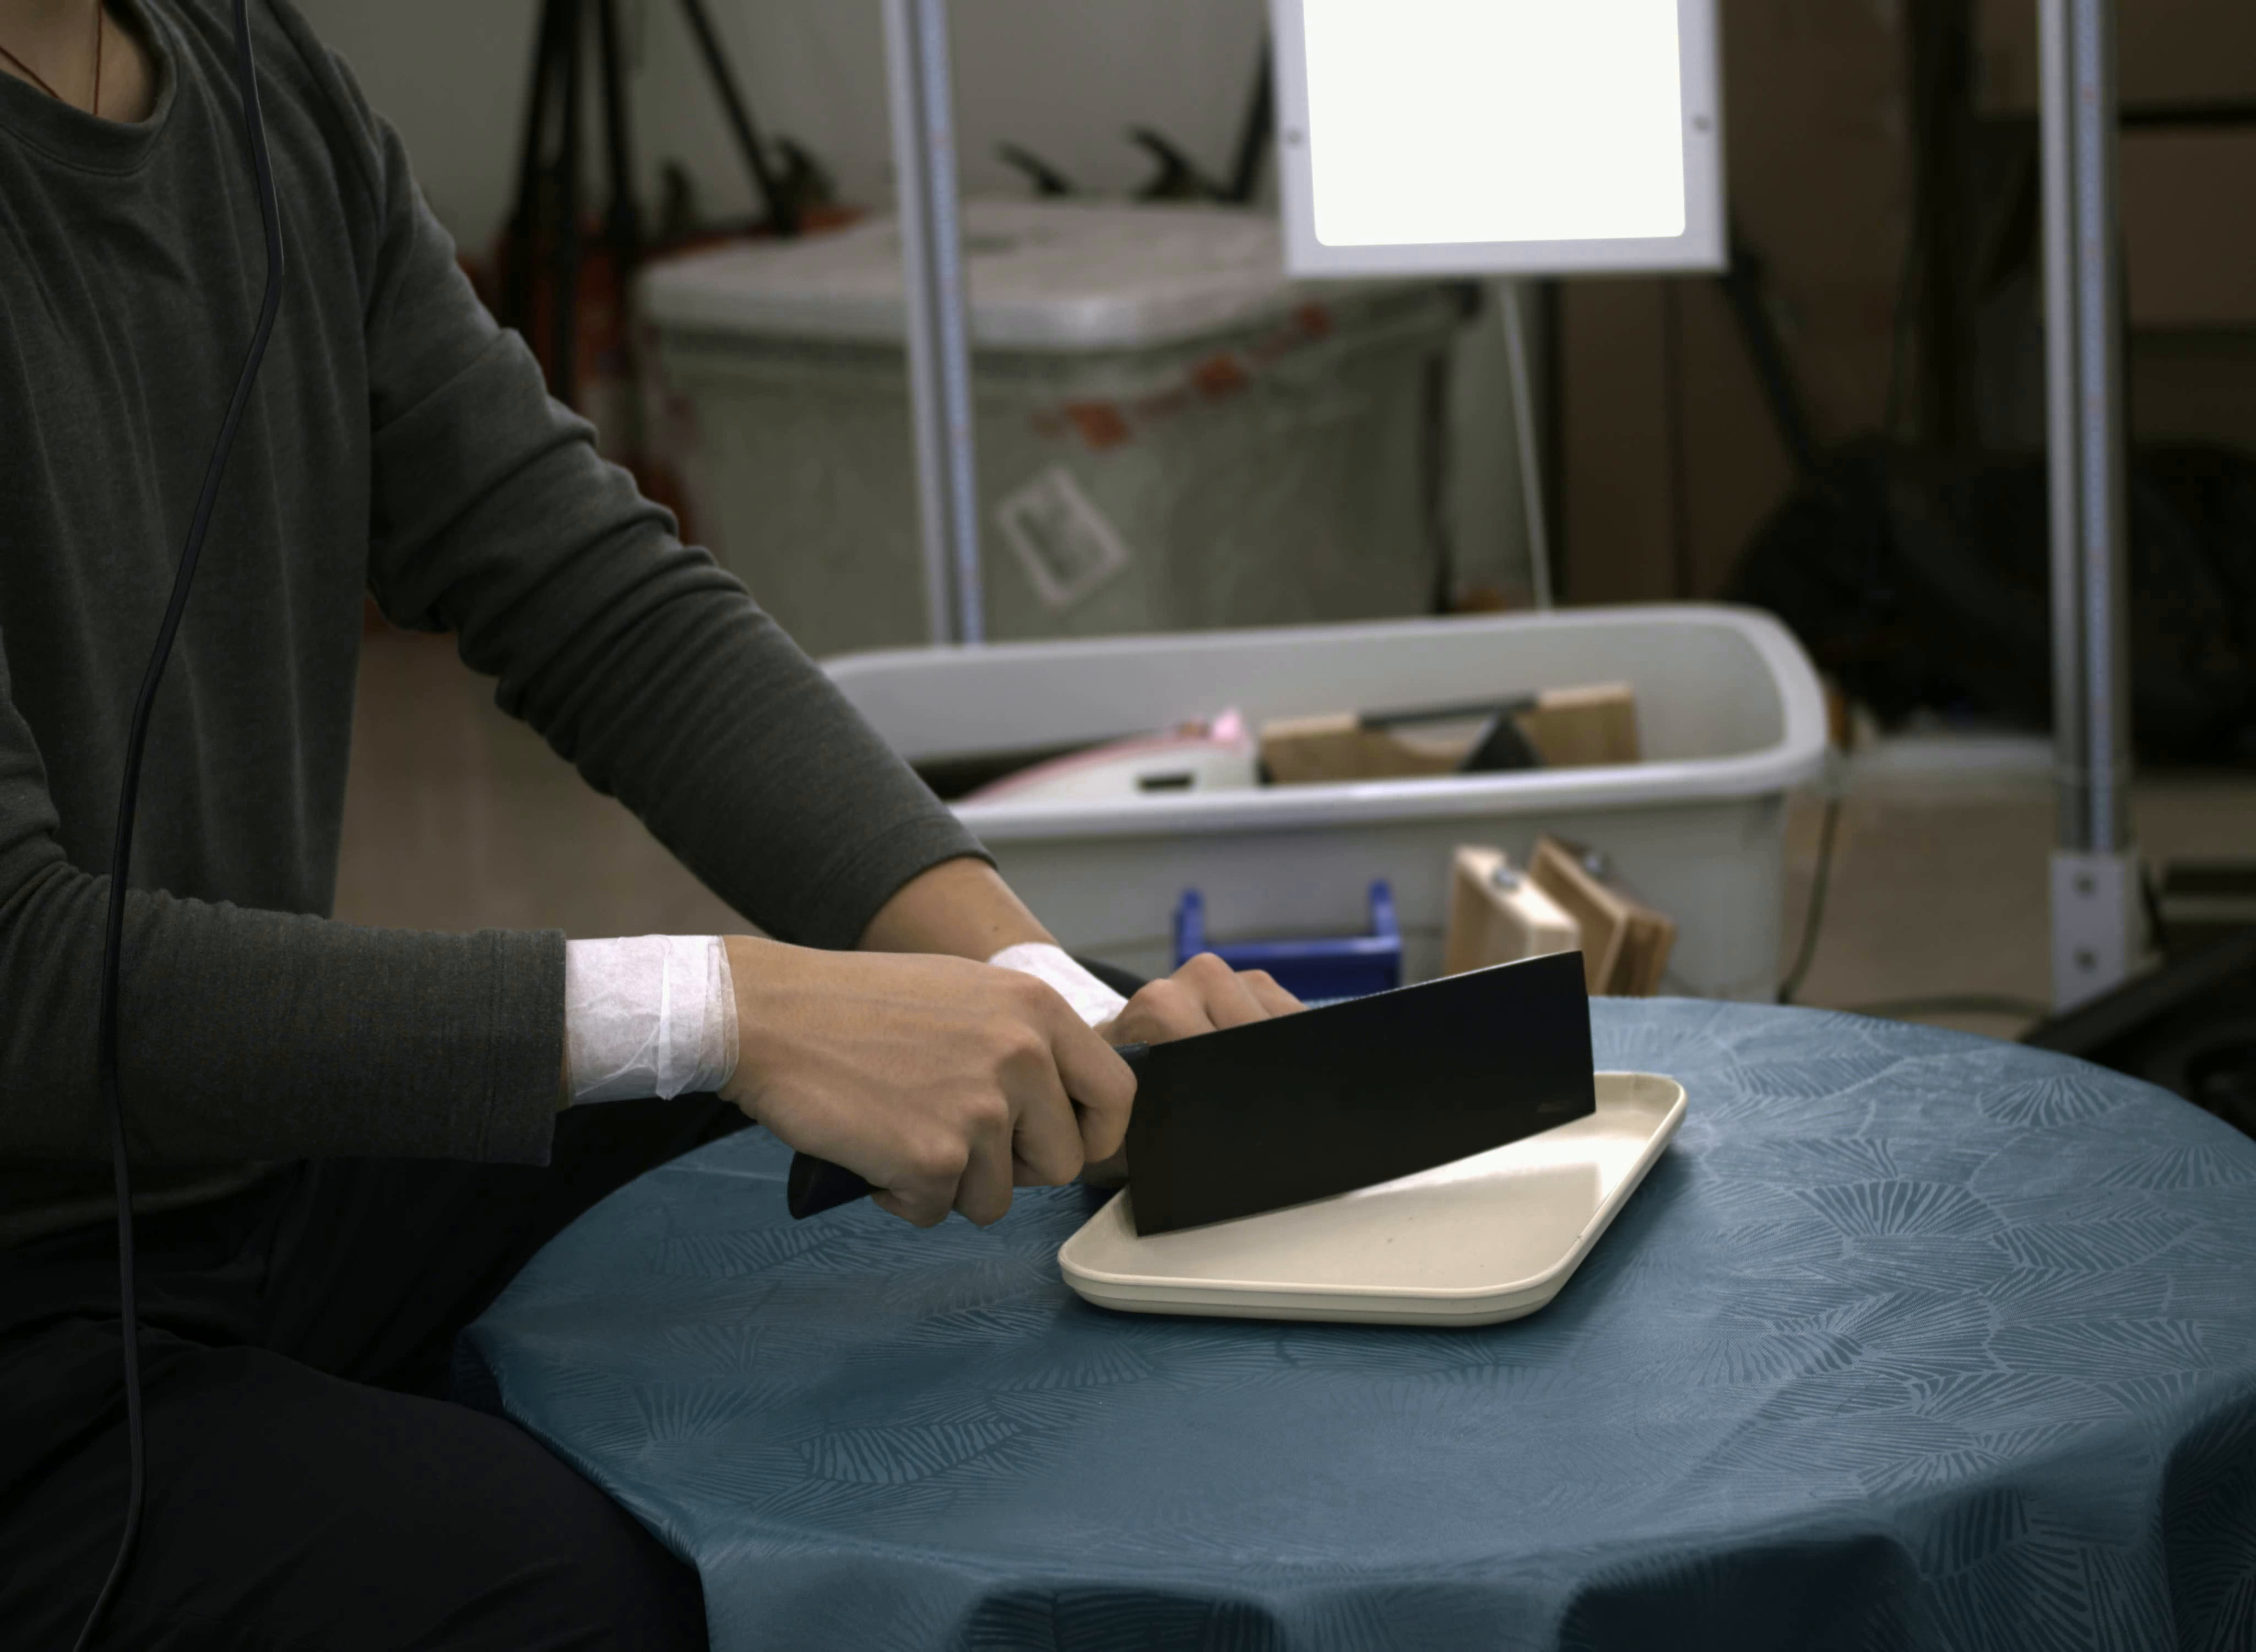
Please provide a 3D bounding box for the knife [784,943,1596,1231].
[{"bbox_3d":[0.026,0.096,1.838,0.296,0.081,0.021,-8,12,-22],"label":"knife"}]

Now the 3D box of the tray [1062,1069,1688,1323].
[{"bbox_3d":[0.087,0.123,1.848,0.173,0.017,0.235,-1,14,20],"label":"tray"}]
